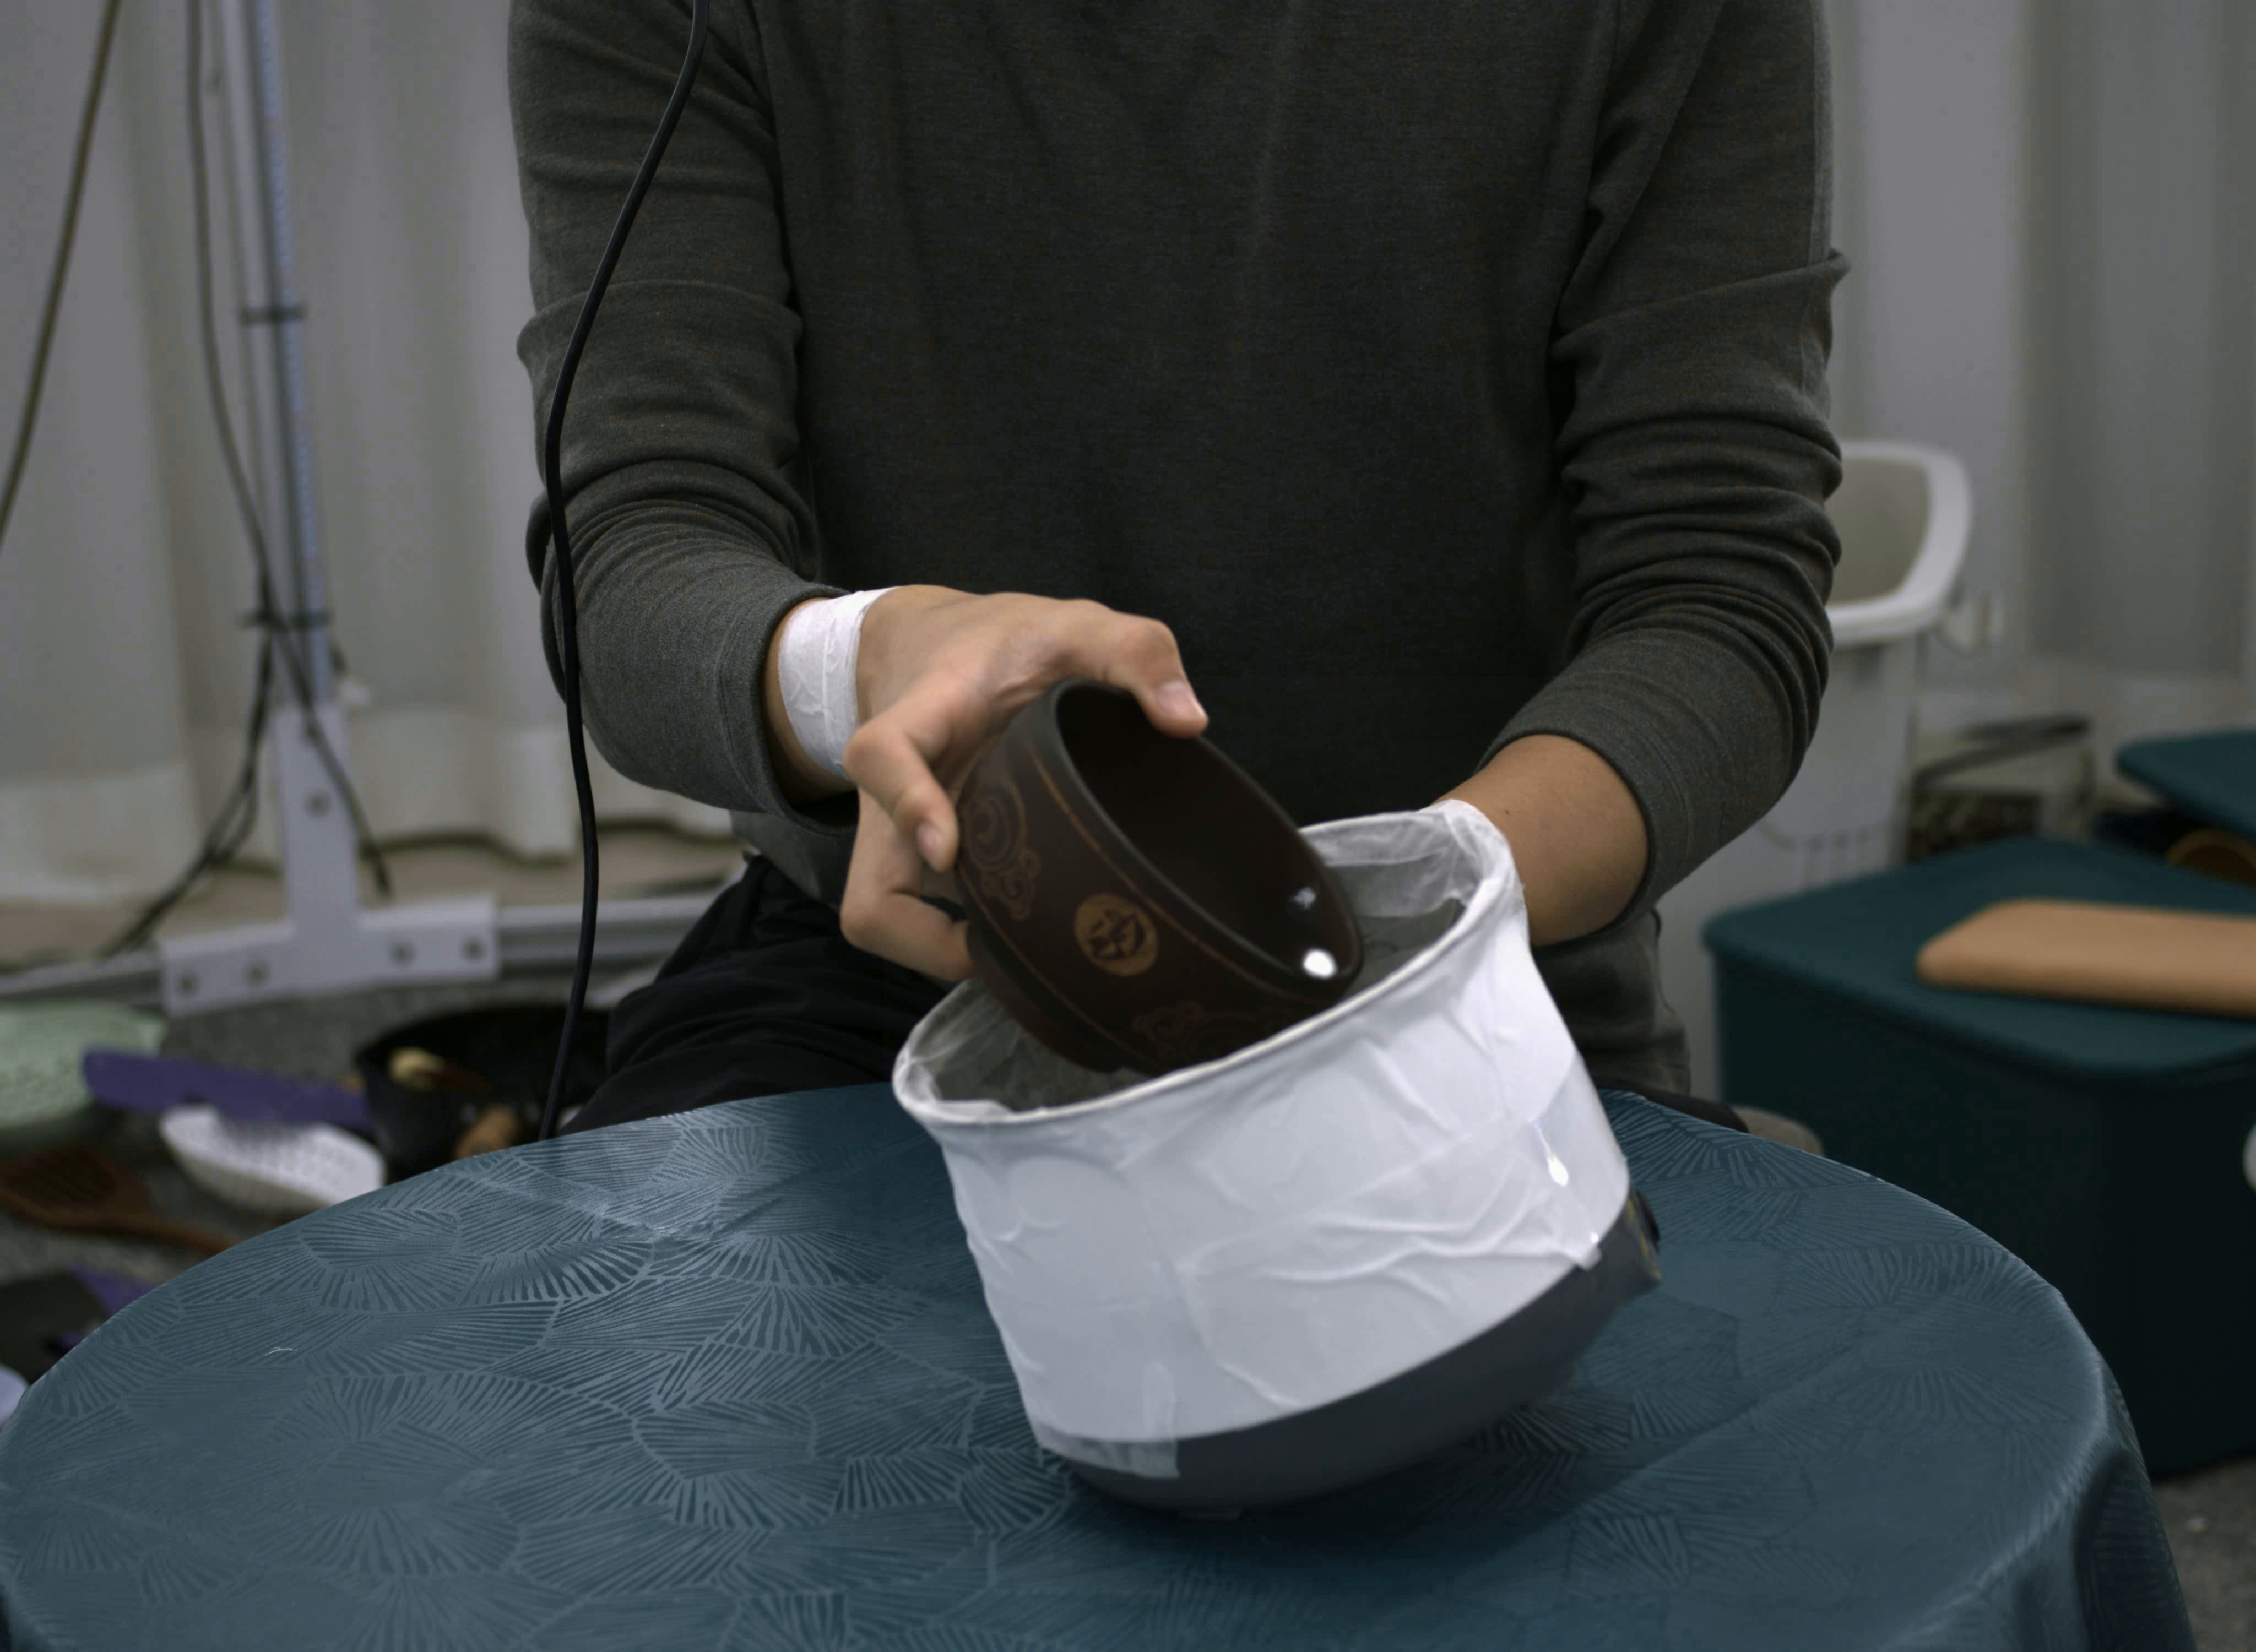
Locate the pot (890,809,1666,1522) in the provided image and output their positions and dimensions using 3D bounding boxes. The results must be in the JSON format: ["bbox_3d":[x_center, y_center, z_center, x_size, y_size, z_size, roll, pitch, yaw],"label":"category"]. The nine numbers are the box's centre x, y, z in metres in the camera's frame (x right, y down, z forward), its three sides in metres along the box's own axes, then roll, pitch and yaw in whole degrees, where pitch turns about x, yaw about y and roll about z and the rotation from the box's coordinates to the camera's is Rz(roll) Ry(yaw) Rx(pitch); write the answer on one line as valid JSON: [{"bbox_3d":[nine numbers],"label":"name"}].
[{"bbox_3d":[0.040,0.085,1.498,0.178,0.136,0.235,-21,15,3],"label":"pot"}]

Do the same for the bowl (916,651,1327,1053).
[{"bbox_3d":[-0.010,0.016,1.490,0.117,0.069,0.119,40,12,-10],"label":"bowl"}]
